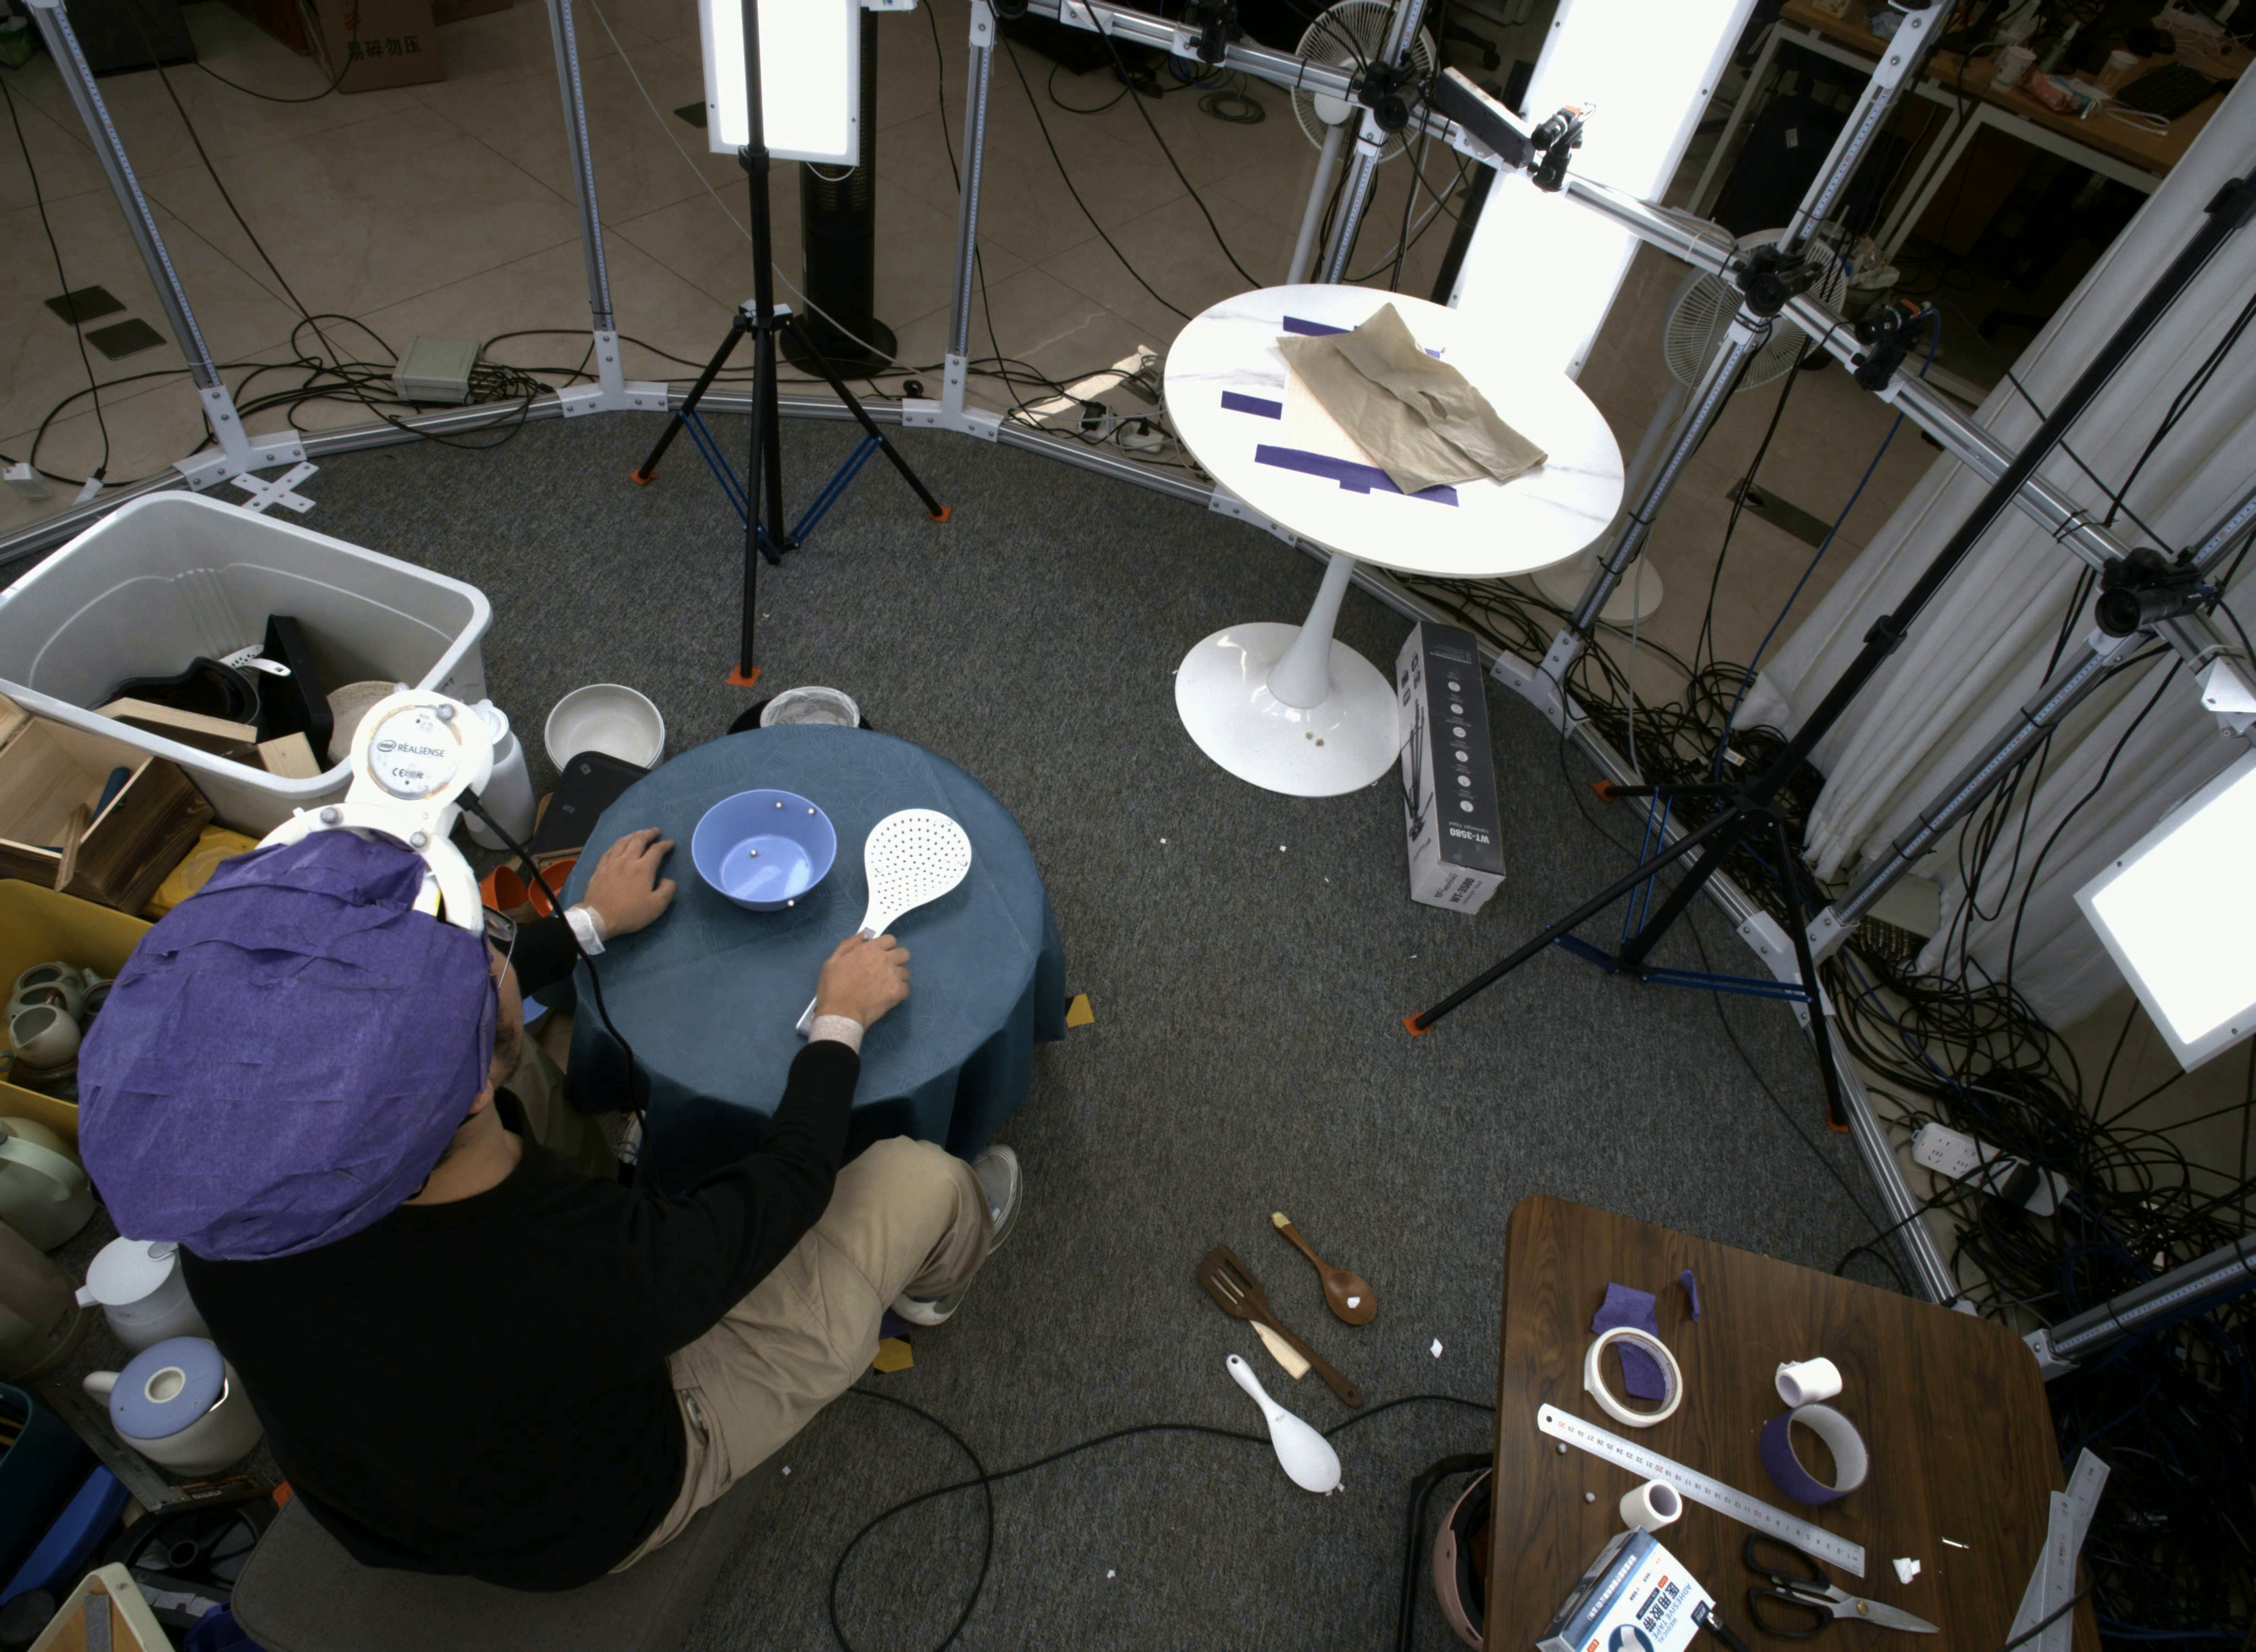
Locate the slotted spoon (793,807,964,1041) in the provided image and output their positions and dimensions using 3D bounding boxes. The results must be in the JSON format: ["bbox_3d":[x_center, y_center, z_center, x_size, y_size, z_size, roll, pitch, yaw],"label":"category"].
[{"bbox_3d":[-0.321,0.117,1.629,0.134,0.046,0.347,24,53,3],"label":"slotted spoon"}]

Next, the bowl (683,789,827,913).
[{"bbox_3d":[-0.467,0.041,1.631,0.175,0.072,0.173,7,53,-8],"label":"bowl"}]
